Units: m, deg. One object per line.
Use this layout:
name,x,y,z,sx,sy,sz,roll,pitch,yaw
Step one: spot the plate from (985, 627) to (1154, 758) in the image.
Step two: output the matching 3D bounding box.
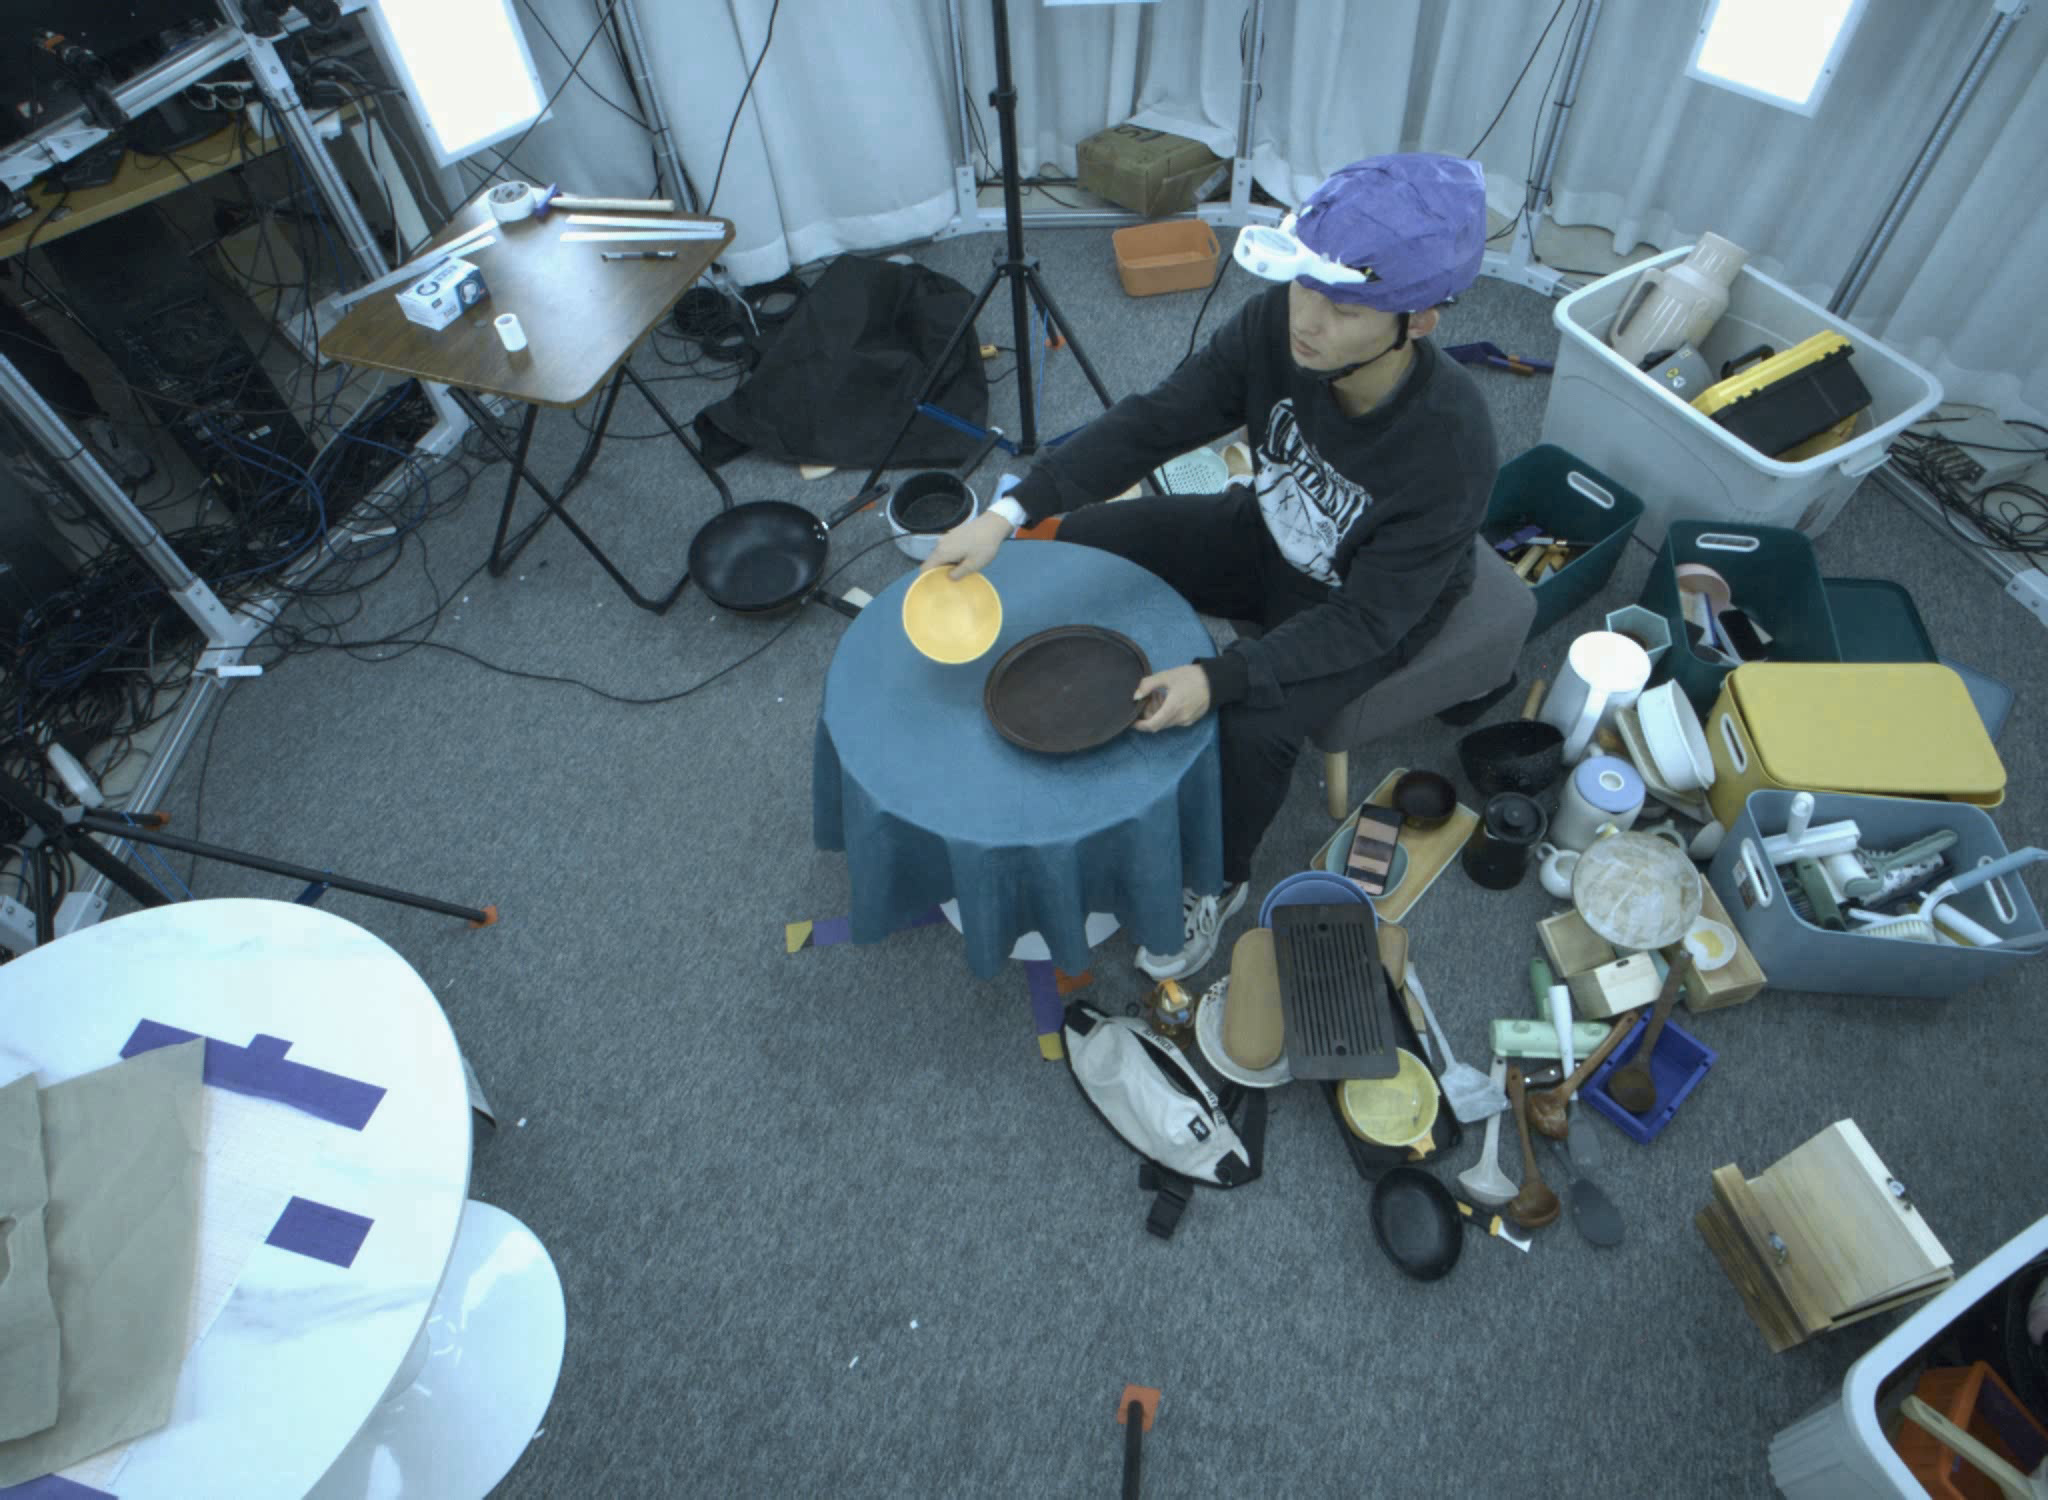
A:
plate,0.067,-0.086,1.823,0.253,0.029,0.252,-5,49,7

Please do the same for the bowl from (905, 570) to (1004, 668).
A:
bowl,-0.107,-0.190,1.814,0.147,0.059,0.145,1,88,-13
